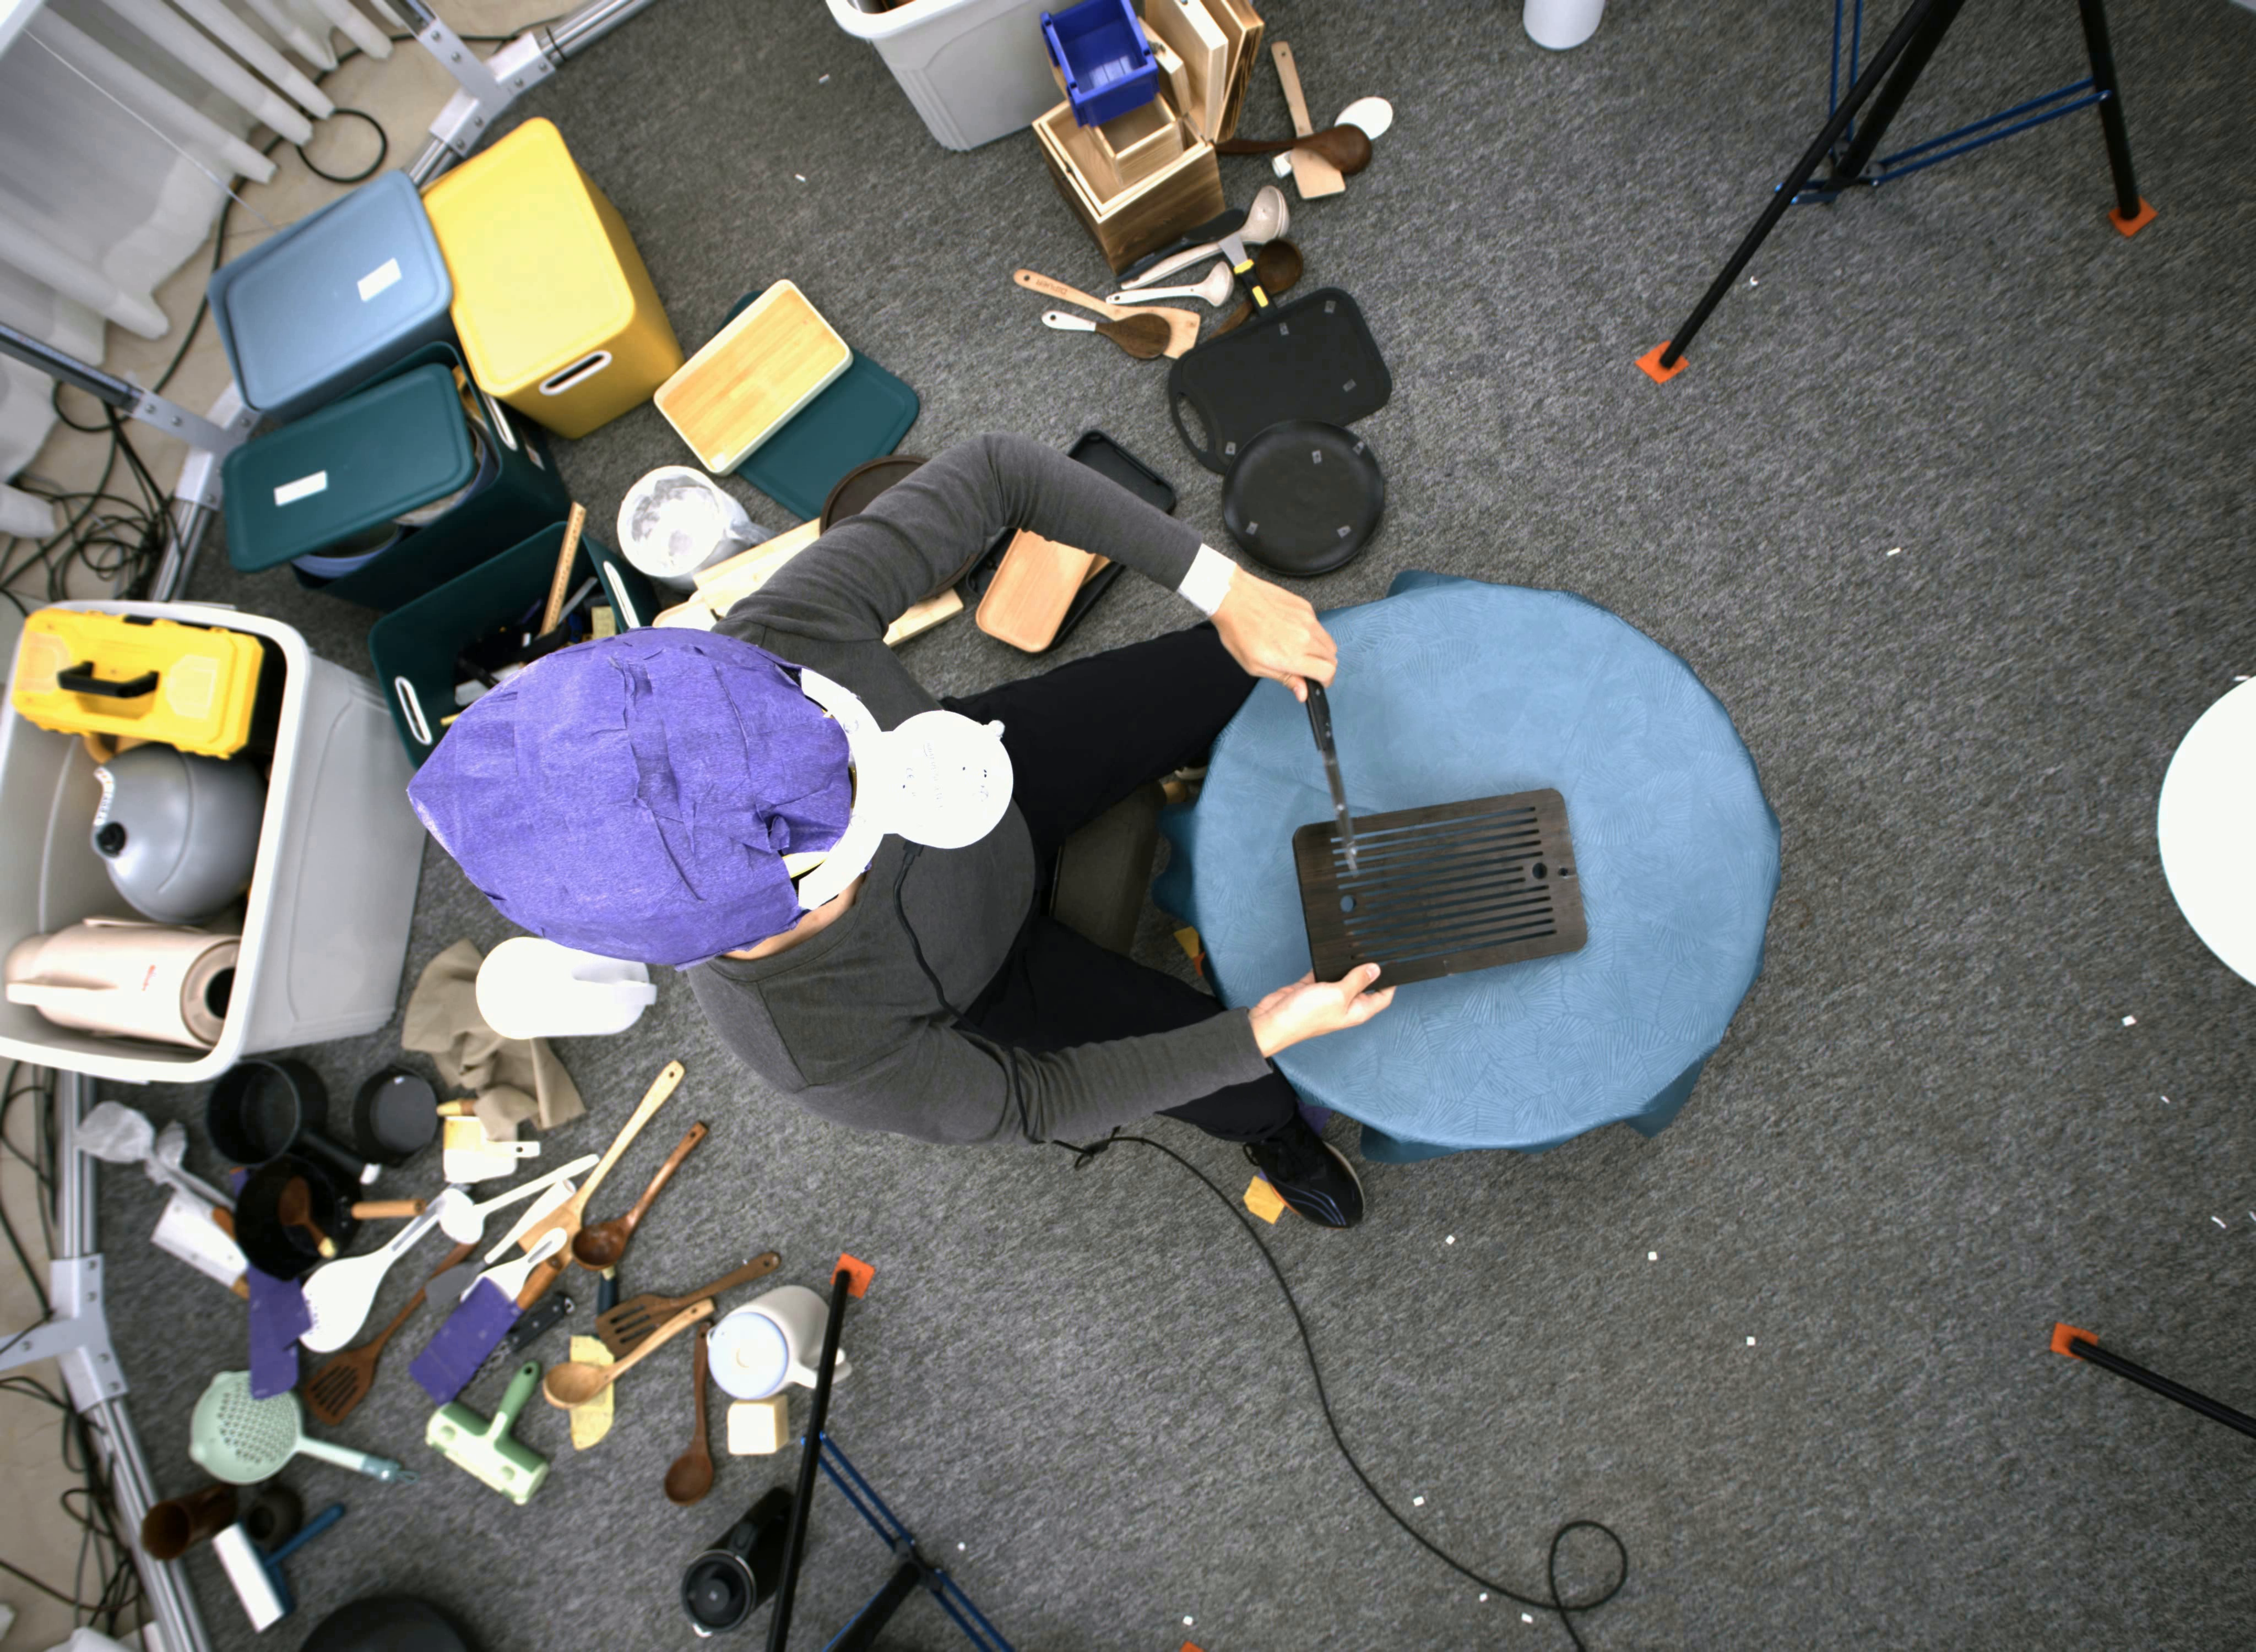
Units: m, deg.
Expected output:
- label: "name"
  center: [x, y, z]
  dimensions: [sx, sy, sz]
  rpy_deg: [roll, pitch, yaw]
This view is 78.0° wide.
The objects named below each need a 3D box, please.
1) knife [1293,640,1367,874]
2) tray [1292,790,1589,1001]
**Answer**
- label: "knife"
  center: [0.196, -0.069, 1.324]
  dimensions: [0.016, 0.024, 0.236]
  rpy_deg: [-21, 79, 43]
- label: "tray"
  center: [0.316, 0.065, 1.381]
  dimensions: [0.304, 0.019, 0.170]
  rpy_deg: [-9, 89, -15]
